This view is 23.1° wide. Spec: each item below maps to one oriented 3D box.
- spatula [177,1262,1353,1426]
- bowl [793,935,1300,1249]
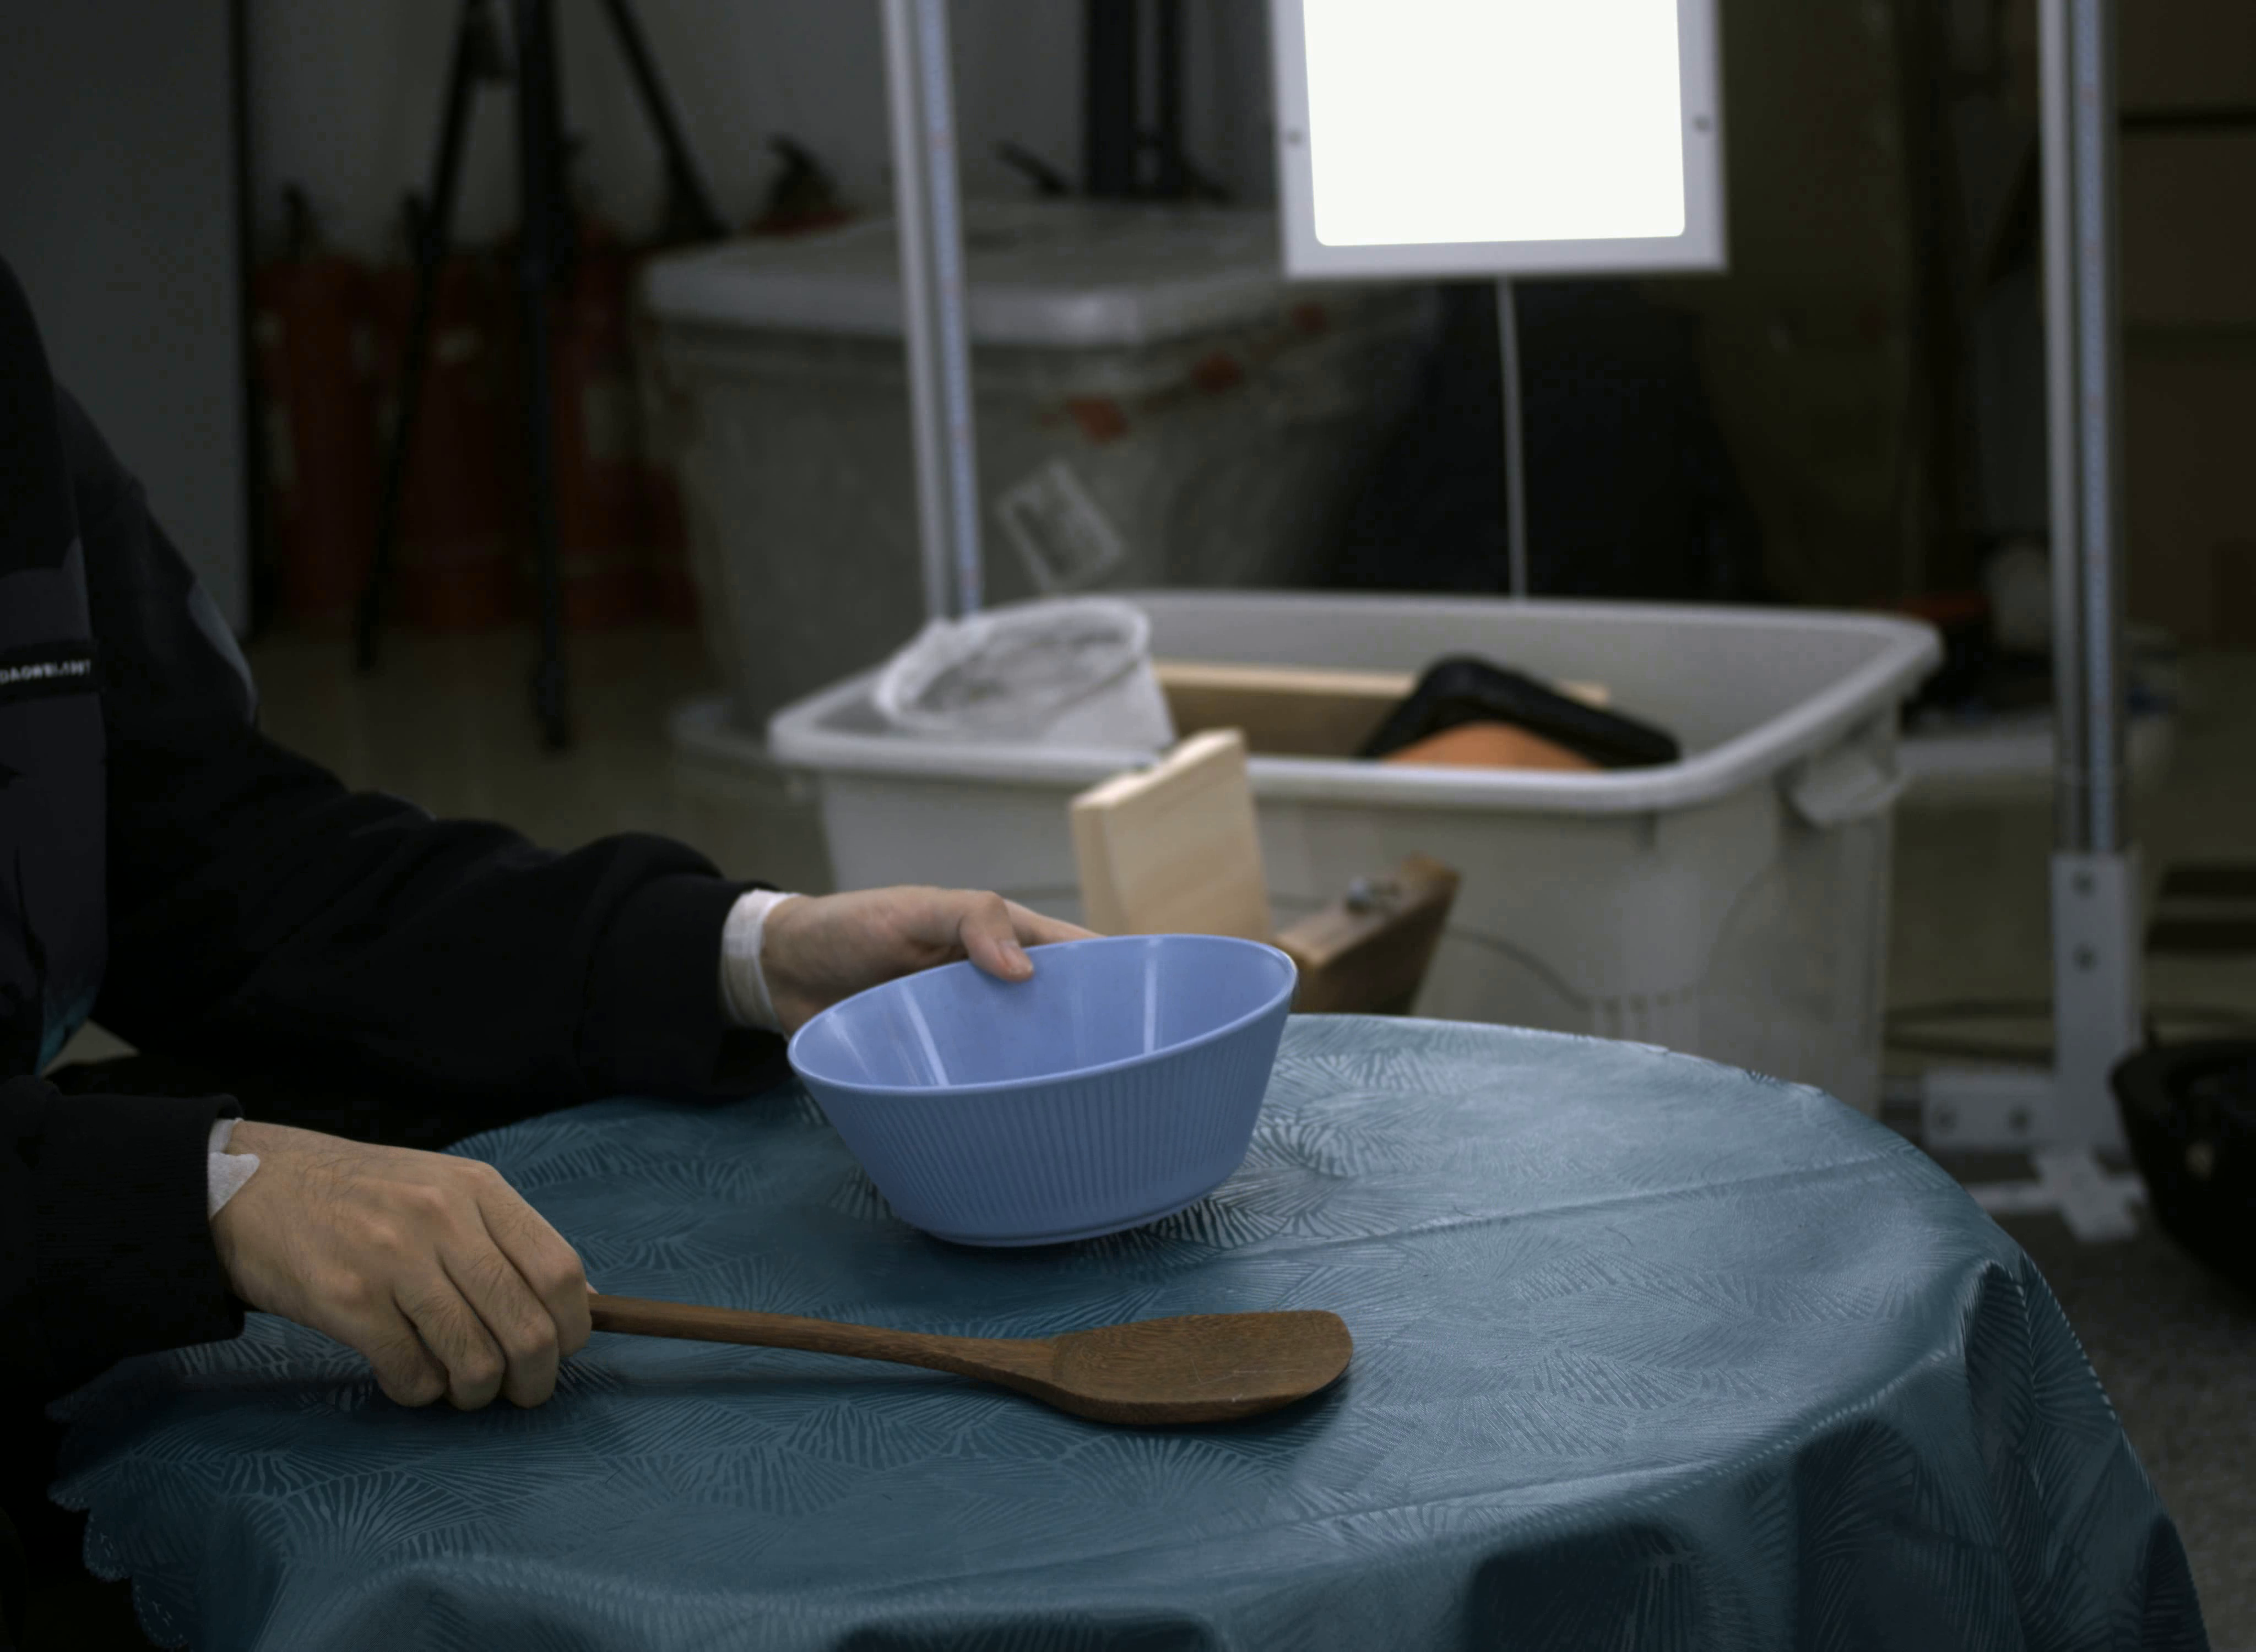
[{"bbox_3d":[-0.119,0.159,1.739,0.389,0.016,0.095,4,14,15],"label":"spatula"},{"bbox_3d":[-0.022,0.093,1.870,0.176,0.070,0.176,-11,12,1],"label":"bowl"}]
